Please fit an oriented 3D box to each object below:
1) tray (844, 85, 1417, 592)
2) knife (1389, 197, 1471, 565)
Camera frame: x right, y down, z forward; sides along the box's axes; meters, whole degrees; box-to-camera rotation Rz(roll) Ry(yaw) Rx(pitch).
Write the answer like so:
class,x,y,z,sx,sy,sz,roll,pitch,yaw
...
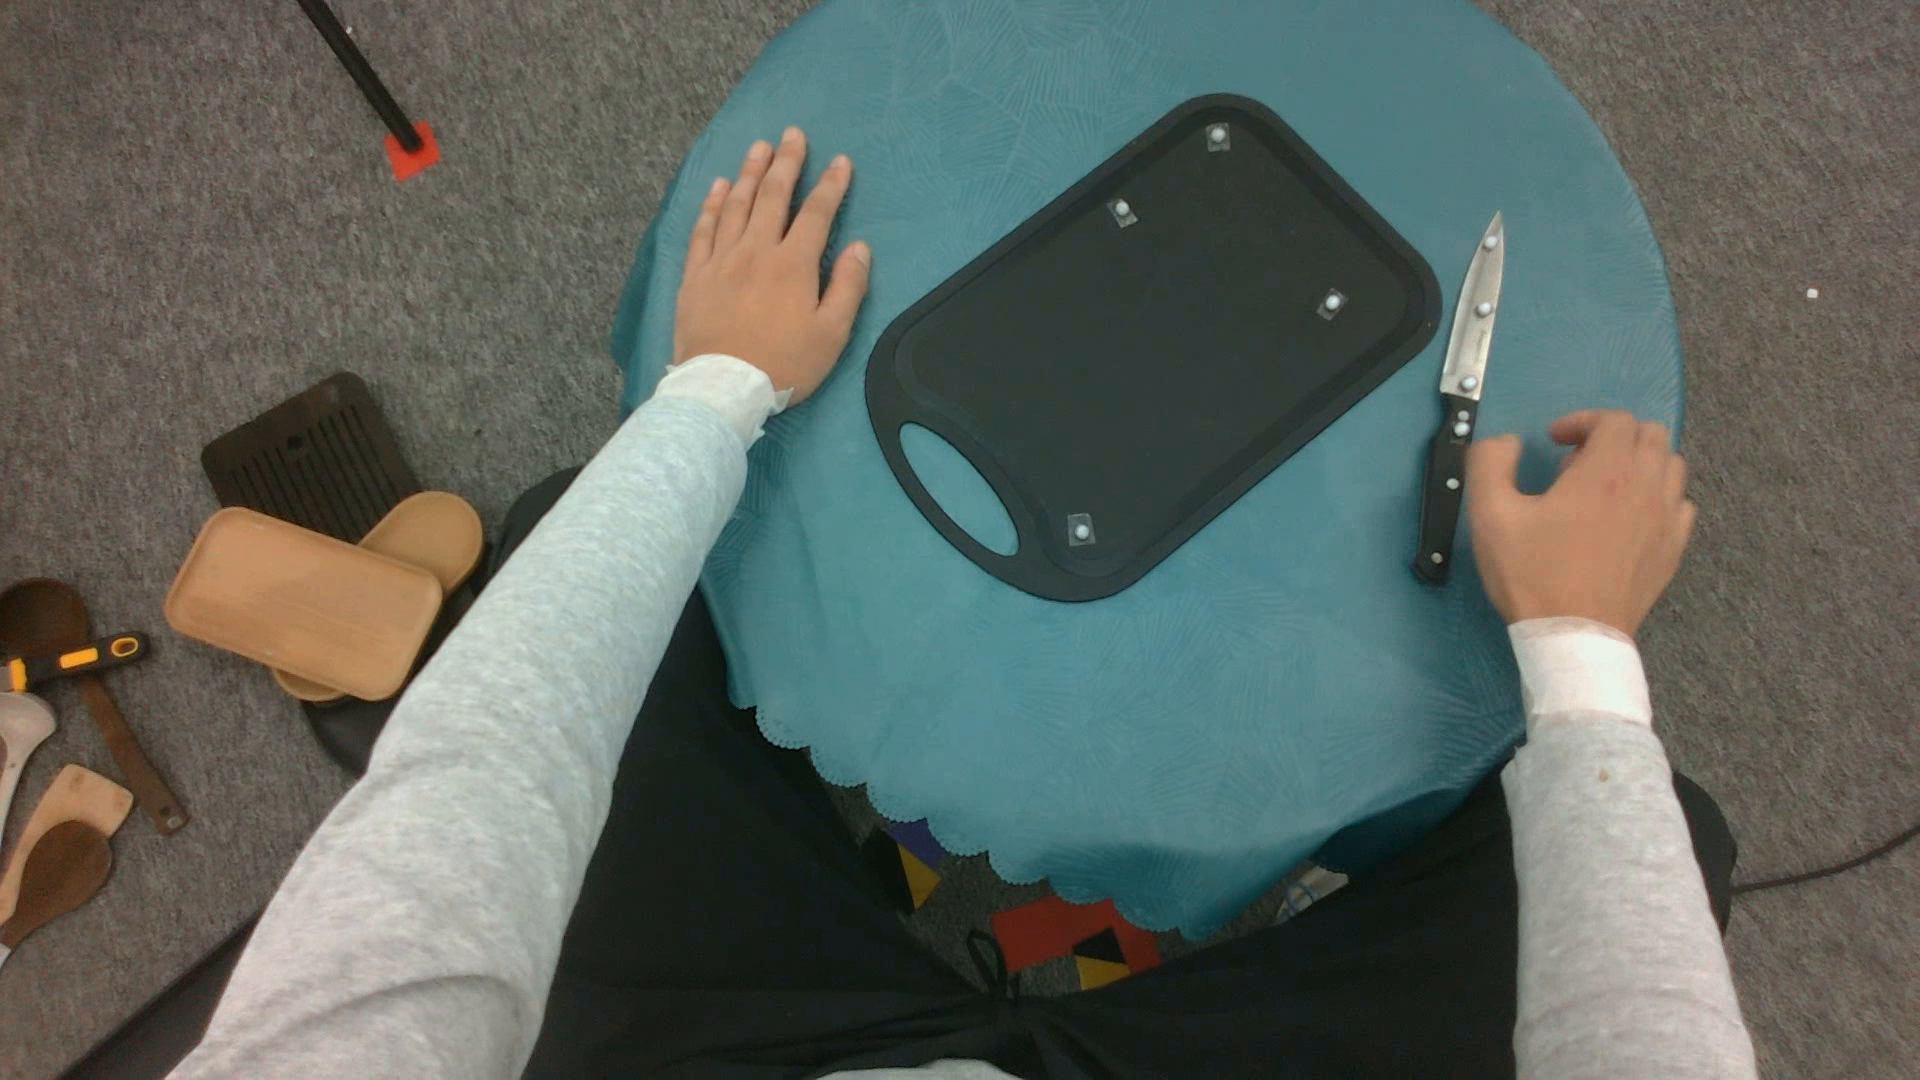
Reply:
class,x,y,z,sx,sy,sz,roll,pitch,yaw
tray,0.094,-0.119,0.792,0.326,0.010,0.211,-38,77,-10
knife,0.272,-0.095,0.783,0.024,0.016,0.239,15,71,2
